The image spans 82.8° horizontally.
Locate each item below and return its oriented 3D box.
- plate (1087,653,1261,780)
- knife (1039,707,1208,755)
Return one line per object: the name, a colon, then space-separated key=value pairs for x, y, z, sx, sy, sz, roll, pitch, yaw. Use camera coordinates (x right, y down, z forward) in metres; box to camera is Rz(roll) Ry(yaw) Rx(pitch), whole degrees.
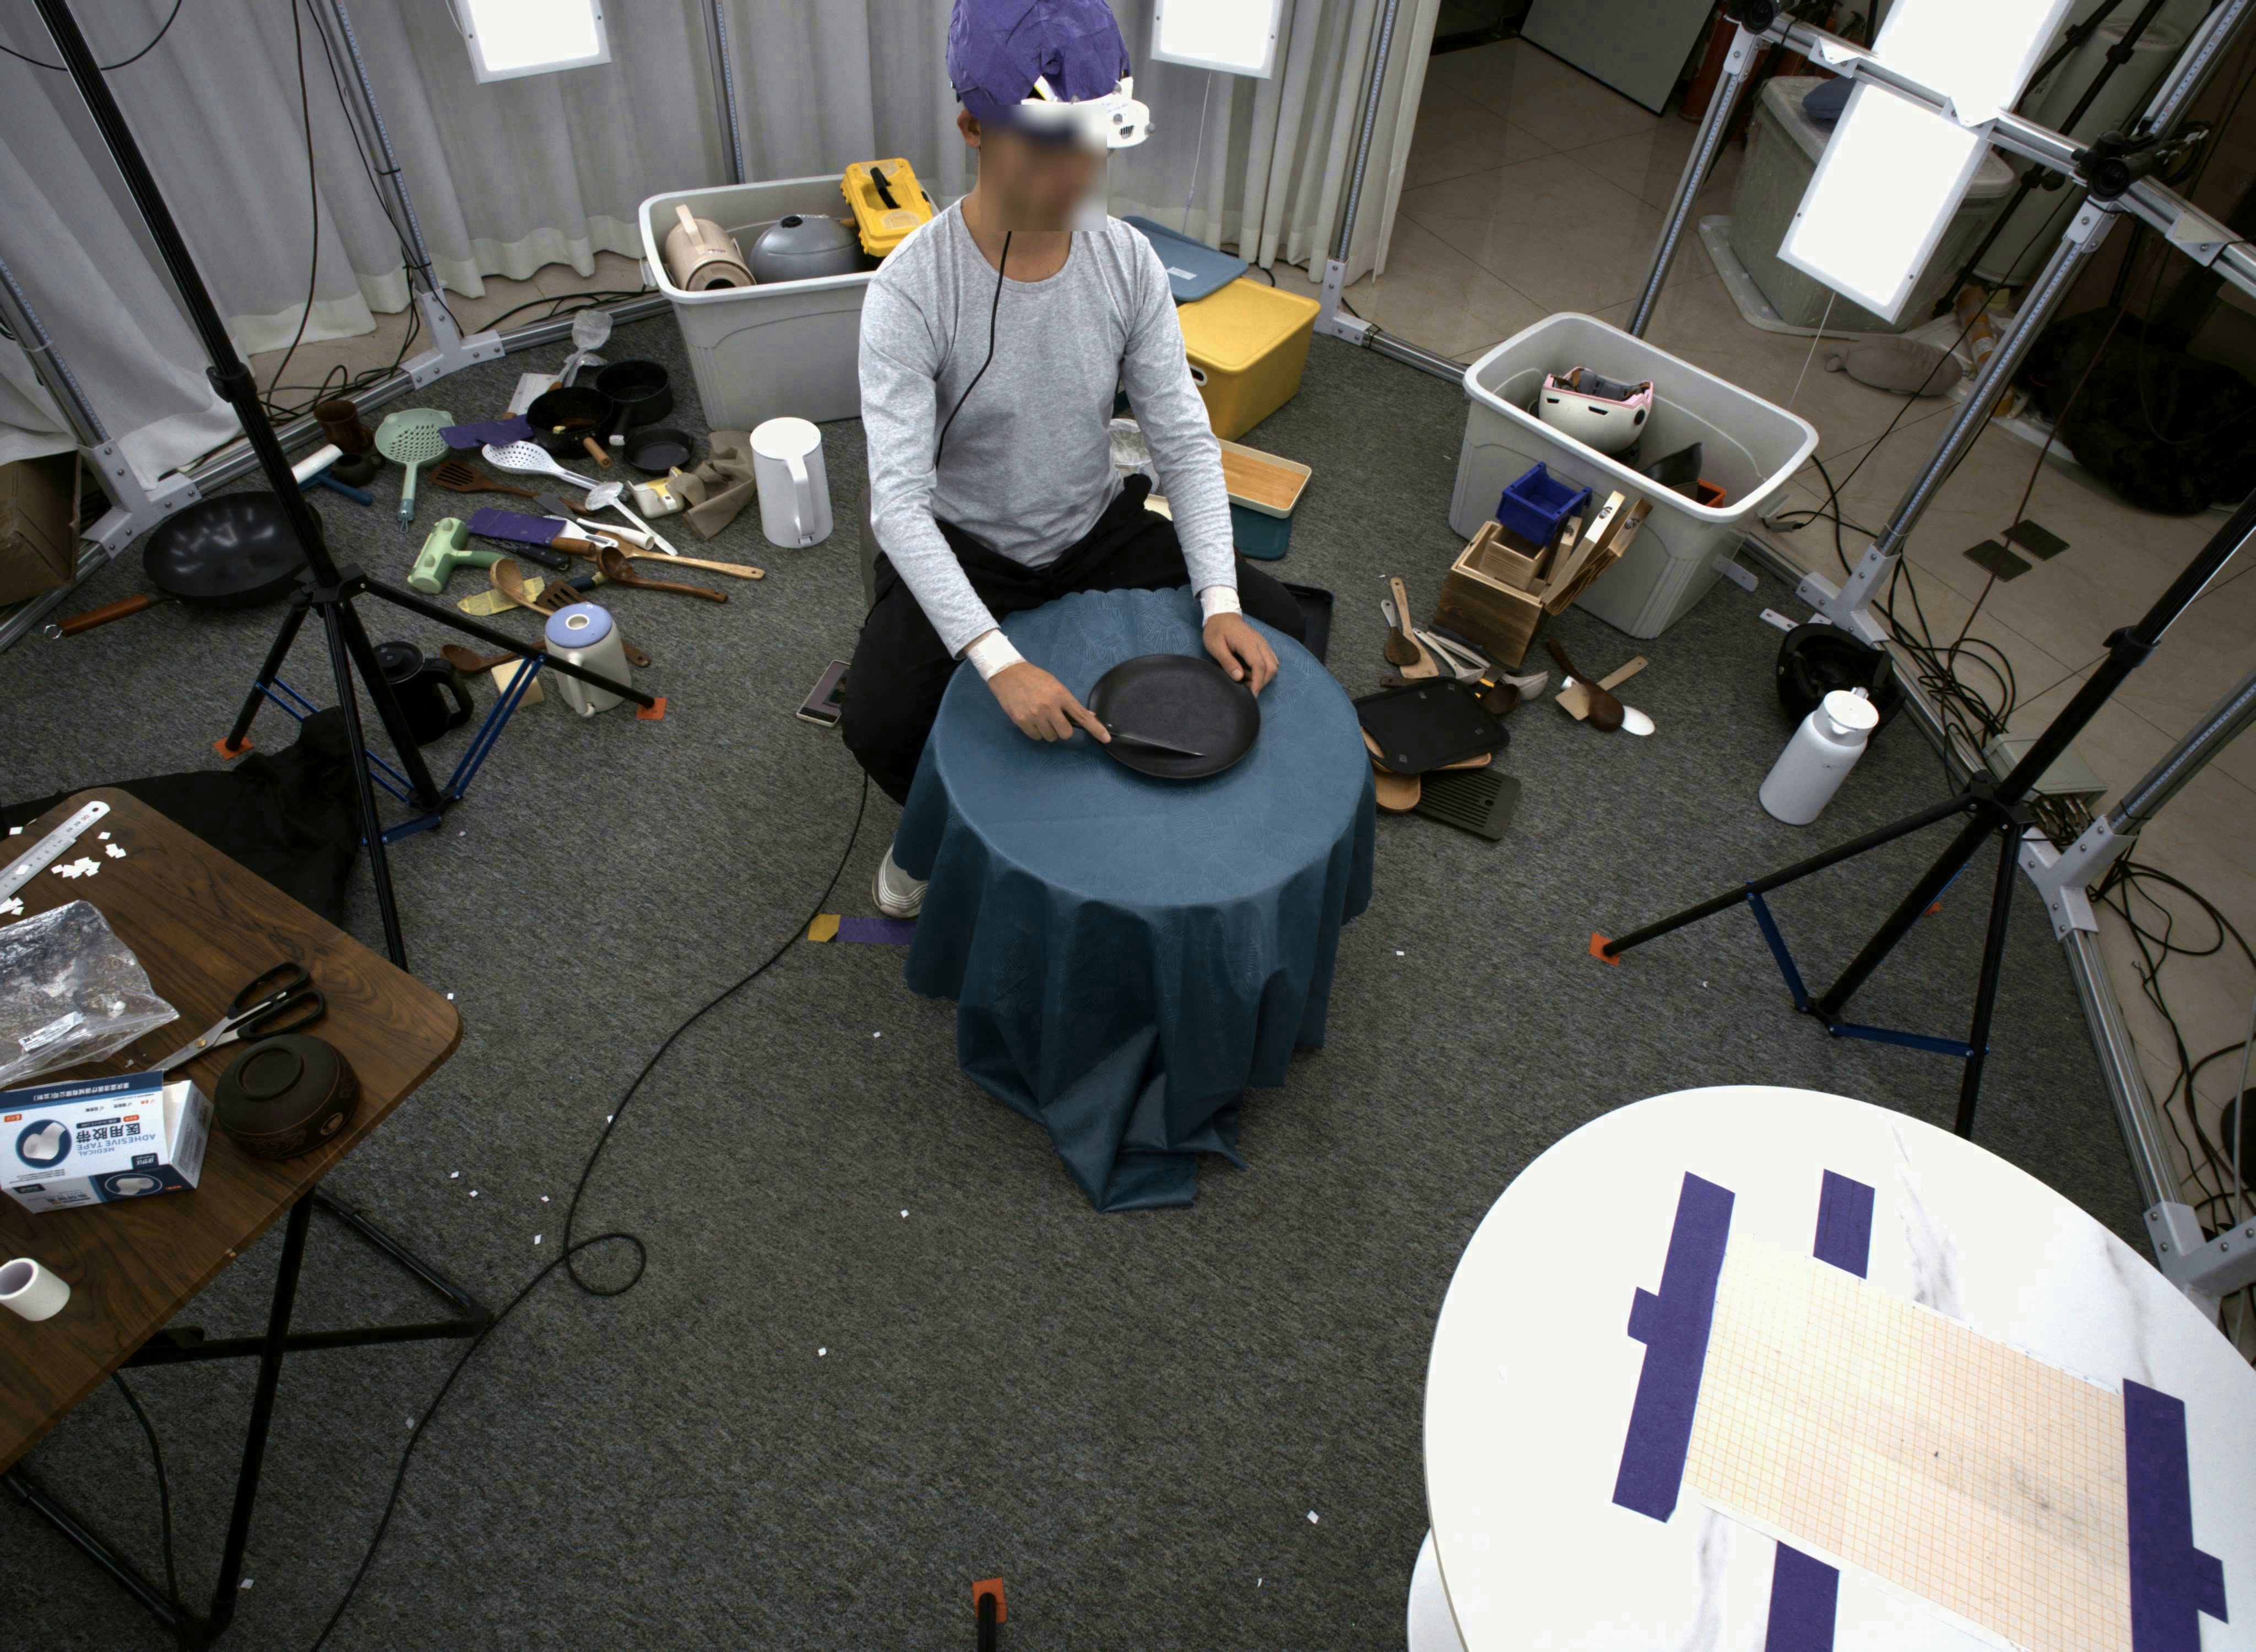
plate: x=0.063 y=-0.151 z=1.788 sx=0.244 sy=0.023 sz=0.250 roll=2 pitch=49 yaw=-2
knife: x=-0.005 y=-0.125 z=1.740 sx=0.237 sy=0.016 sz=0.025 roll=14 pitch=31 yaw=-4
